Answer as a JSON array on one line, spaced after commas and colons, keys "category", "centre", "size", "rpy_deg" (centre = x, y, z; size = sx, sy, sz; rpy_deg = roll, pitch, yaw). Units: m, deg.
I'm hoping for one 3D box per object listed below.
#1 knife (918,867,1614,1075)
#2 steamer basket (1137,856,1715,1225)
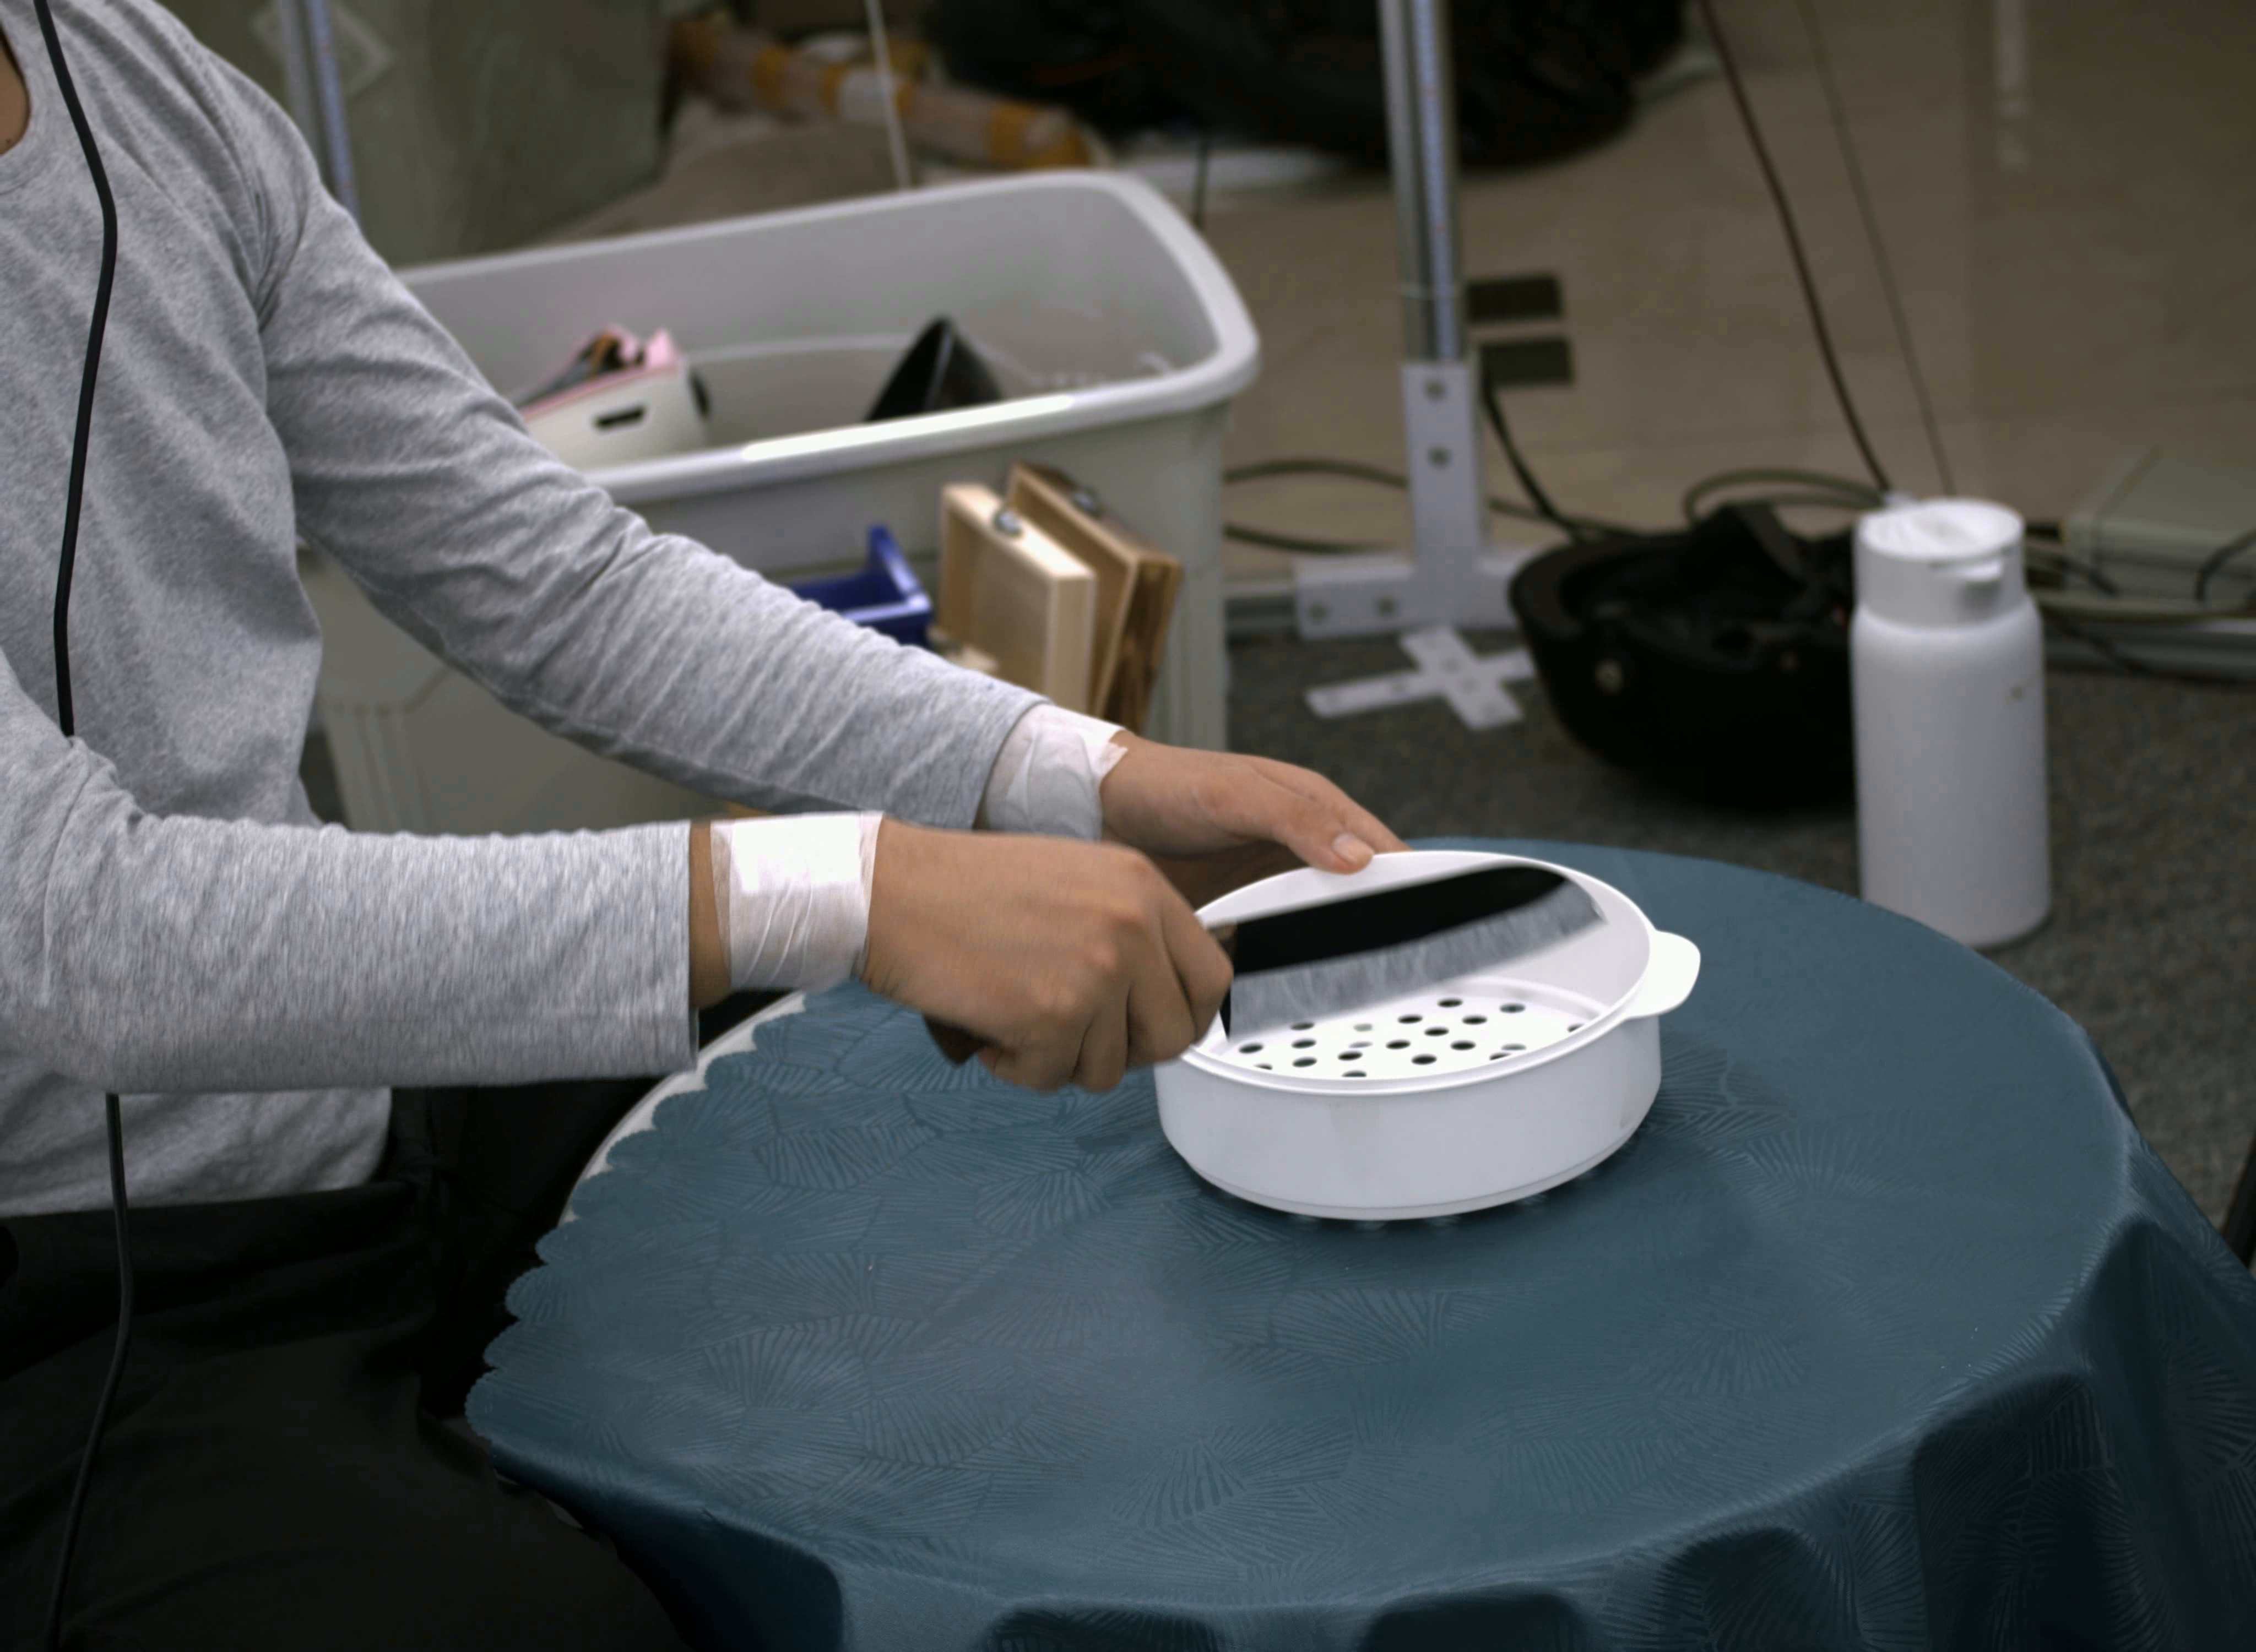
[{"category": "knife", "centre": [0.054, 0.053, 2.008], "size": [0.288, 0.051, 0.020], "rpy_deg": [-9, 23, -29]}, {"category": "steamer basket", "centre": [0.111, 0.082, 2.167], "size": [0.230, 0.070, 0.199], "rpy_deg": [0, 25, 15]}]
